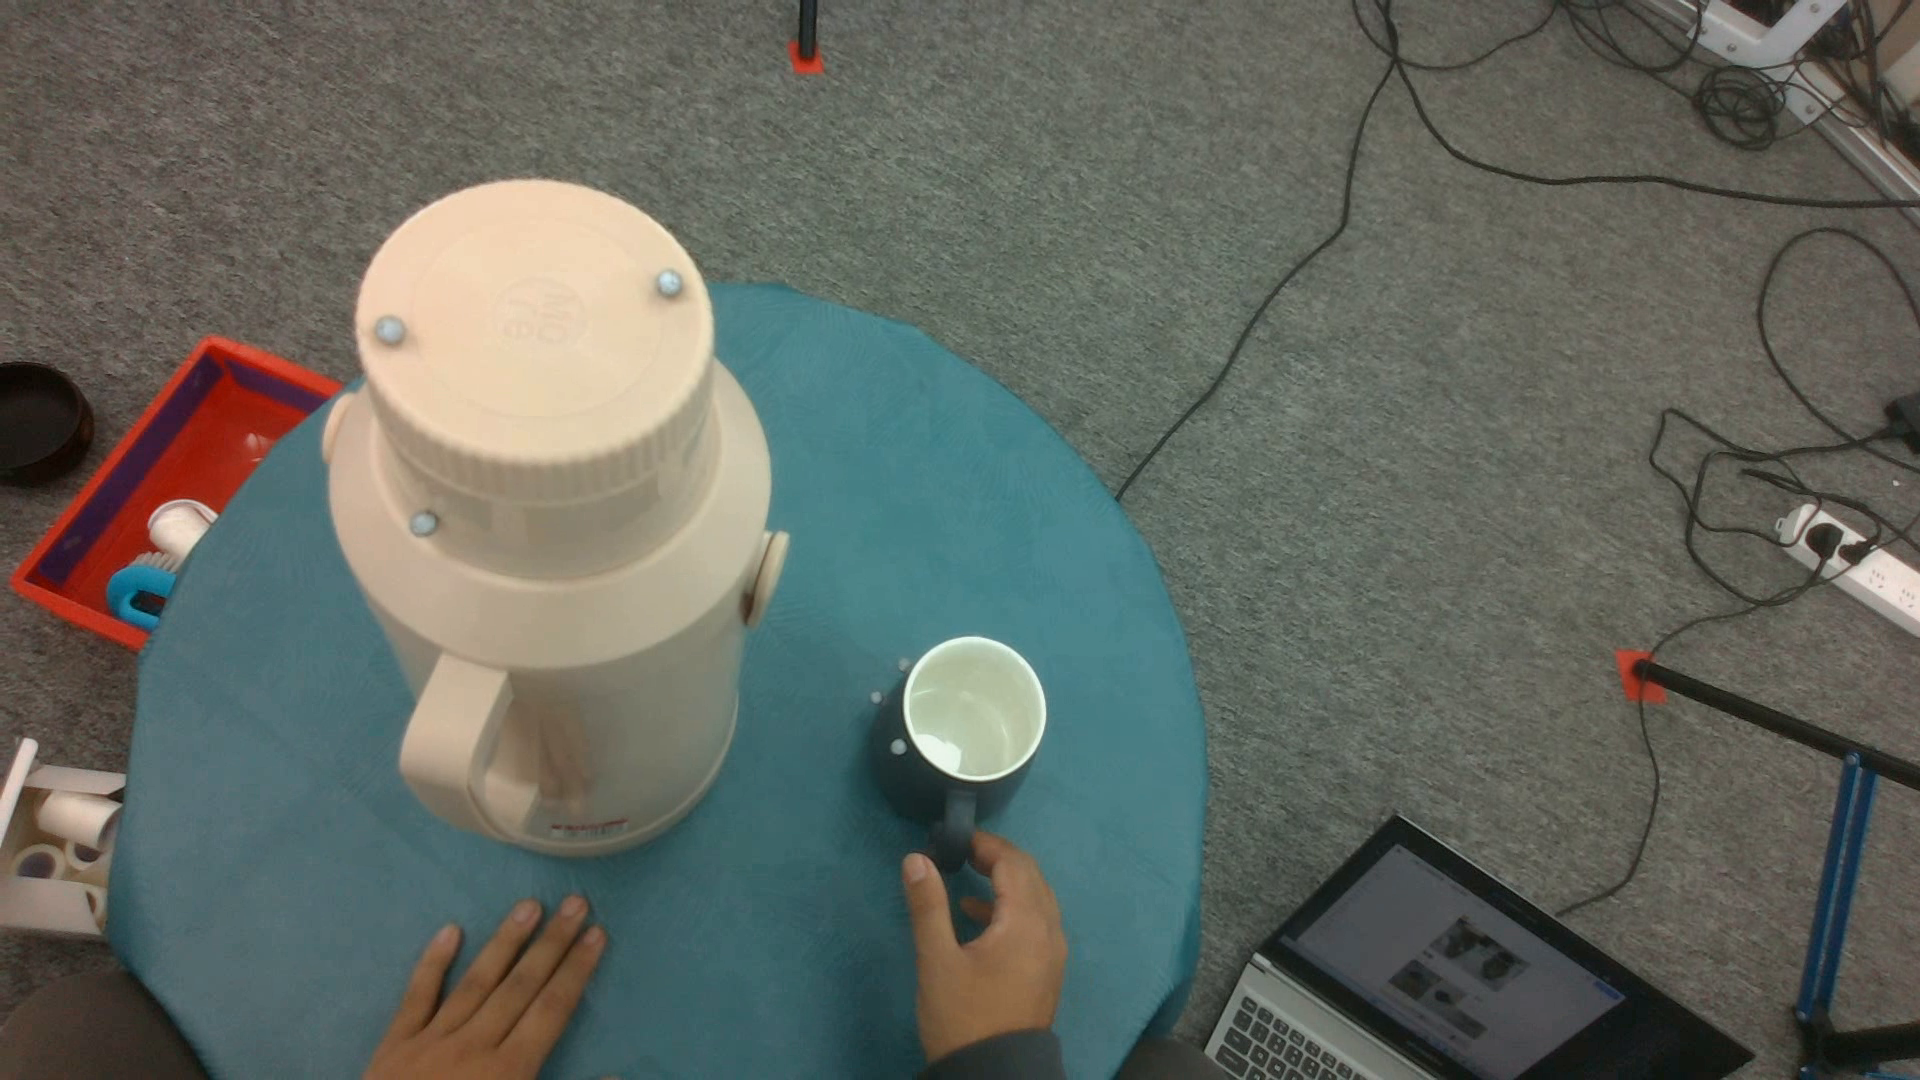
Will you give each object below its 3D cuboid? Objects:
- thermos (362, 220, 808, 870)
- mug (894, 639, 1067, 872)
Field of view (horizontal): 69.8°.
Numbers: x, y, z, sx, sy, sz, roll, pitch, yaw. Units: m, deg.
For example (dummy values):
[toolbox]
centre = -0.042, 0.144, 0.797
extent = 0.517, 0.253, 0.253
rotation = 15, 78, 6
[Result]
[thermos]
centre = -0.164, 0.038, 0.610
extent = 0.175, 0.404, 0.208
rotation = 15, 62, -4
[mug]
centre = 0.011, 0.123, 0.773
extent = 0.093, 0.089, 0.124
rotation = 9, 63, -6
